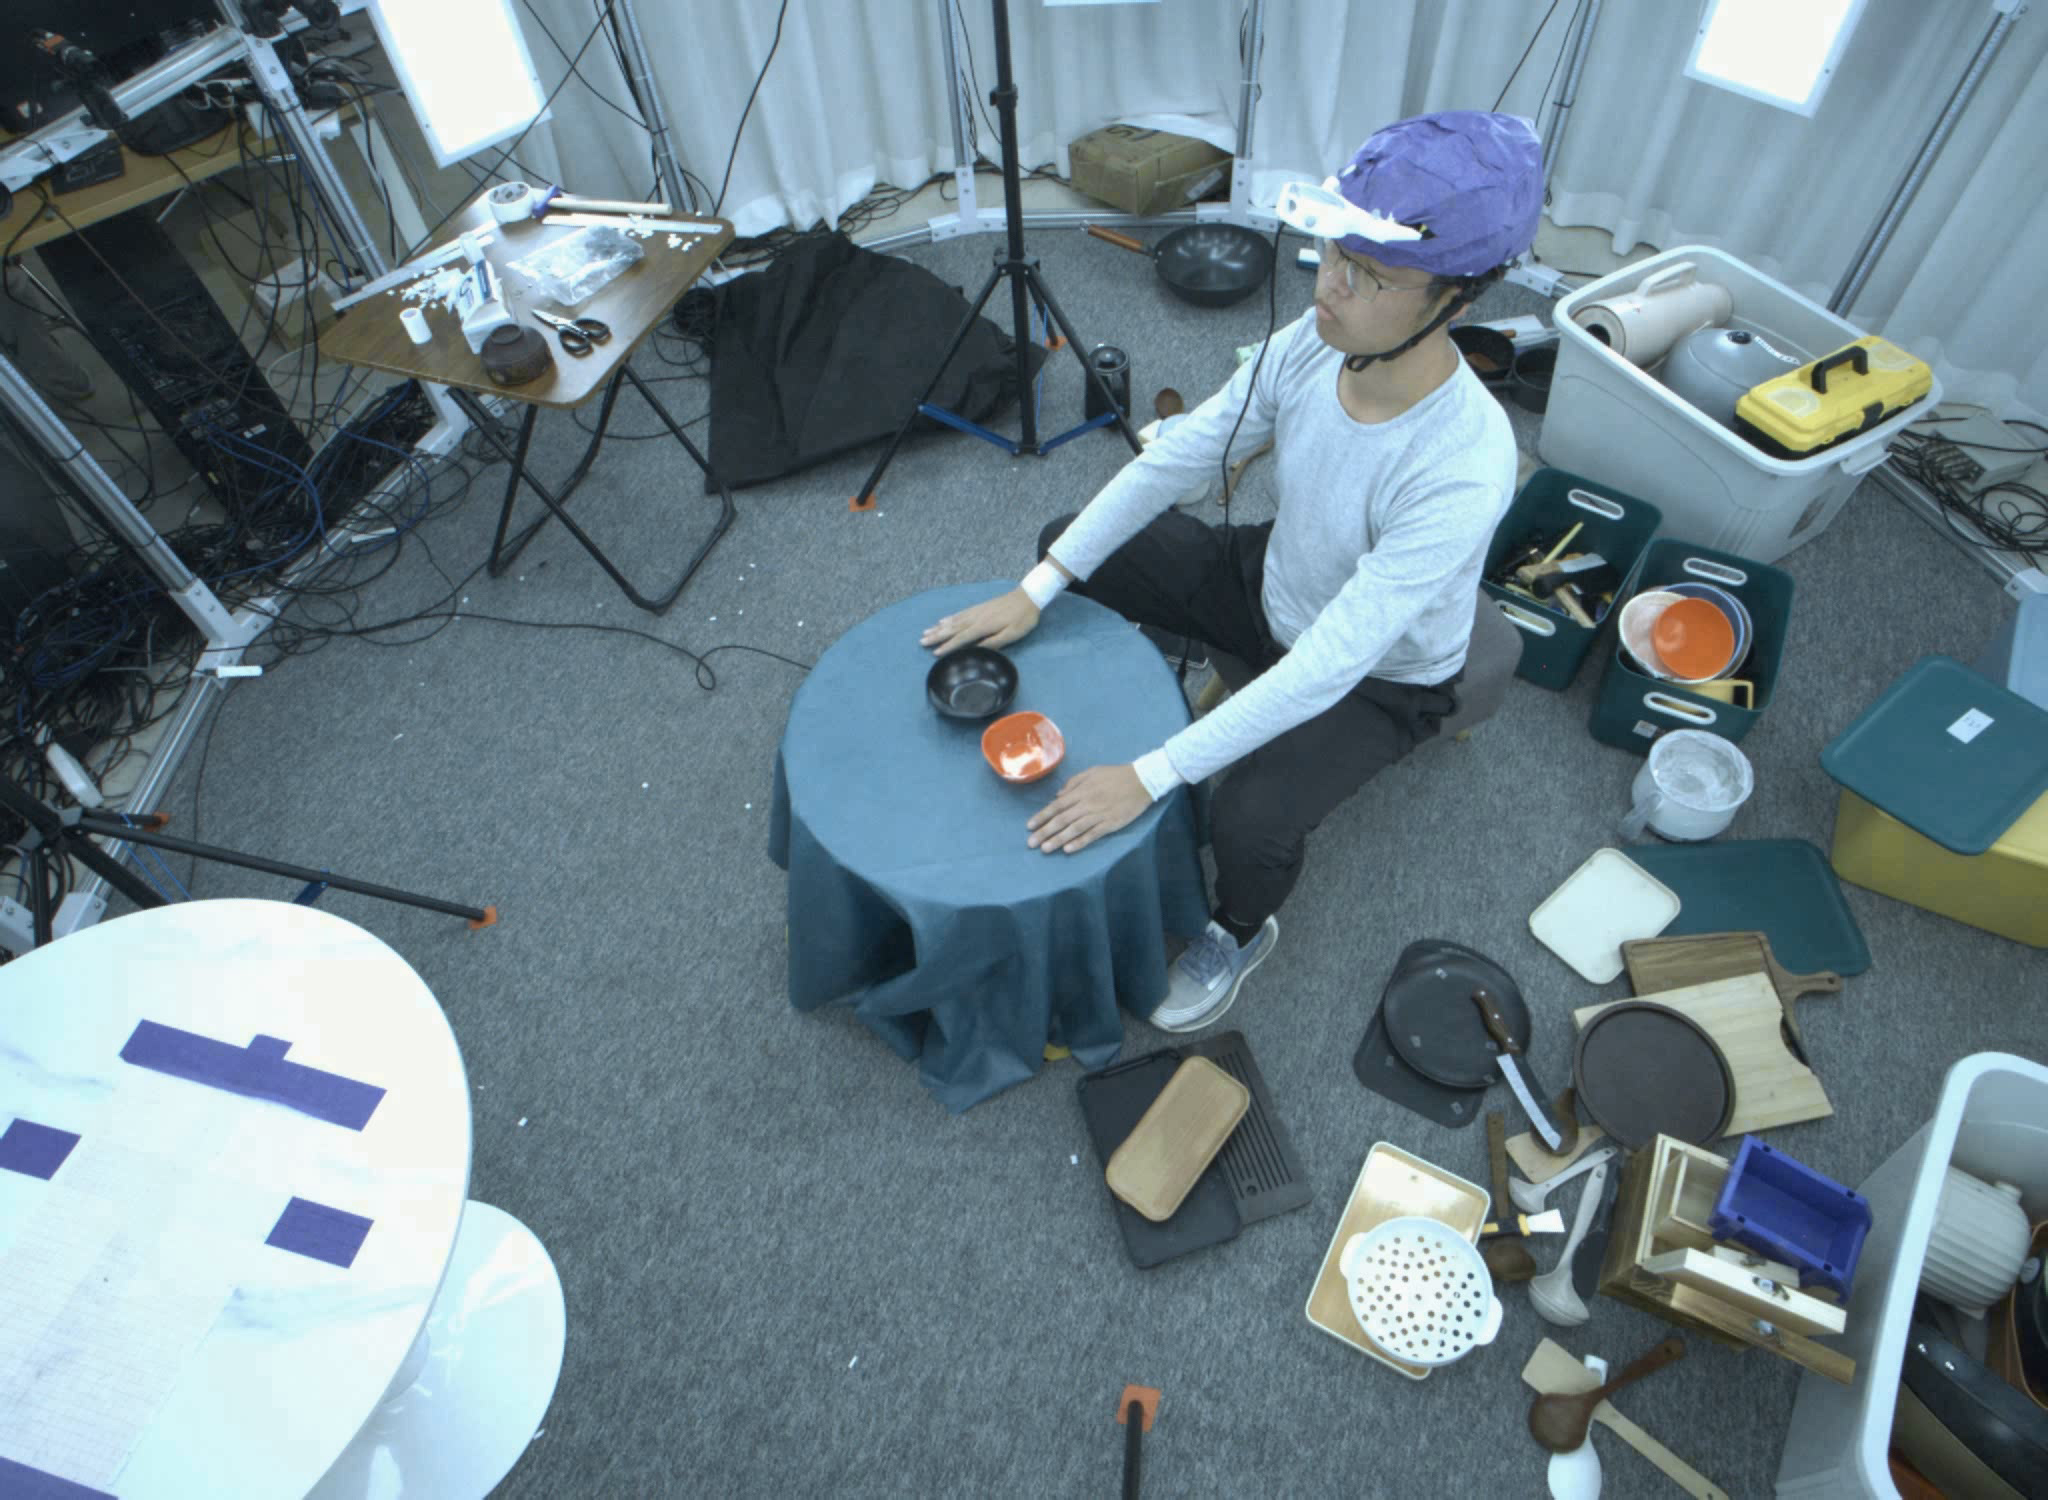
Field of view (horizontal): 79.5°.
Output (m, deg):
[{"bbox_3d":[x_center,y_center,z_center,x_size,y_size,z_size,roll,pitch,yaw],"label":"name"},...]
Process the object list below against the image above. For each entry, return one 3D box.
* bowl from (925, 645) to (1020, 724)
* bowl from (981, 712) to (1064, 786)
[{"bbox_3d":[-0.076,-0.089,1.831,0.140,0.050,0.138,1,55,0],"label":"bowl"},{"bbox_3d":[0.000,0.006,1.756,0.118,0.052,0.118,-2,55,5],"label":"bowl"}]
